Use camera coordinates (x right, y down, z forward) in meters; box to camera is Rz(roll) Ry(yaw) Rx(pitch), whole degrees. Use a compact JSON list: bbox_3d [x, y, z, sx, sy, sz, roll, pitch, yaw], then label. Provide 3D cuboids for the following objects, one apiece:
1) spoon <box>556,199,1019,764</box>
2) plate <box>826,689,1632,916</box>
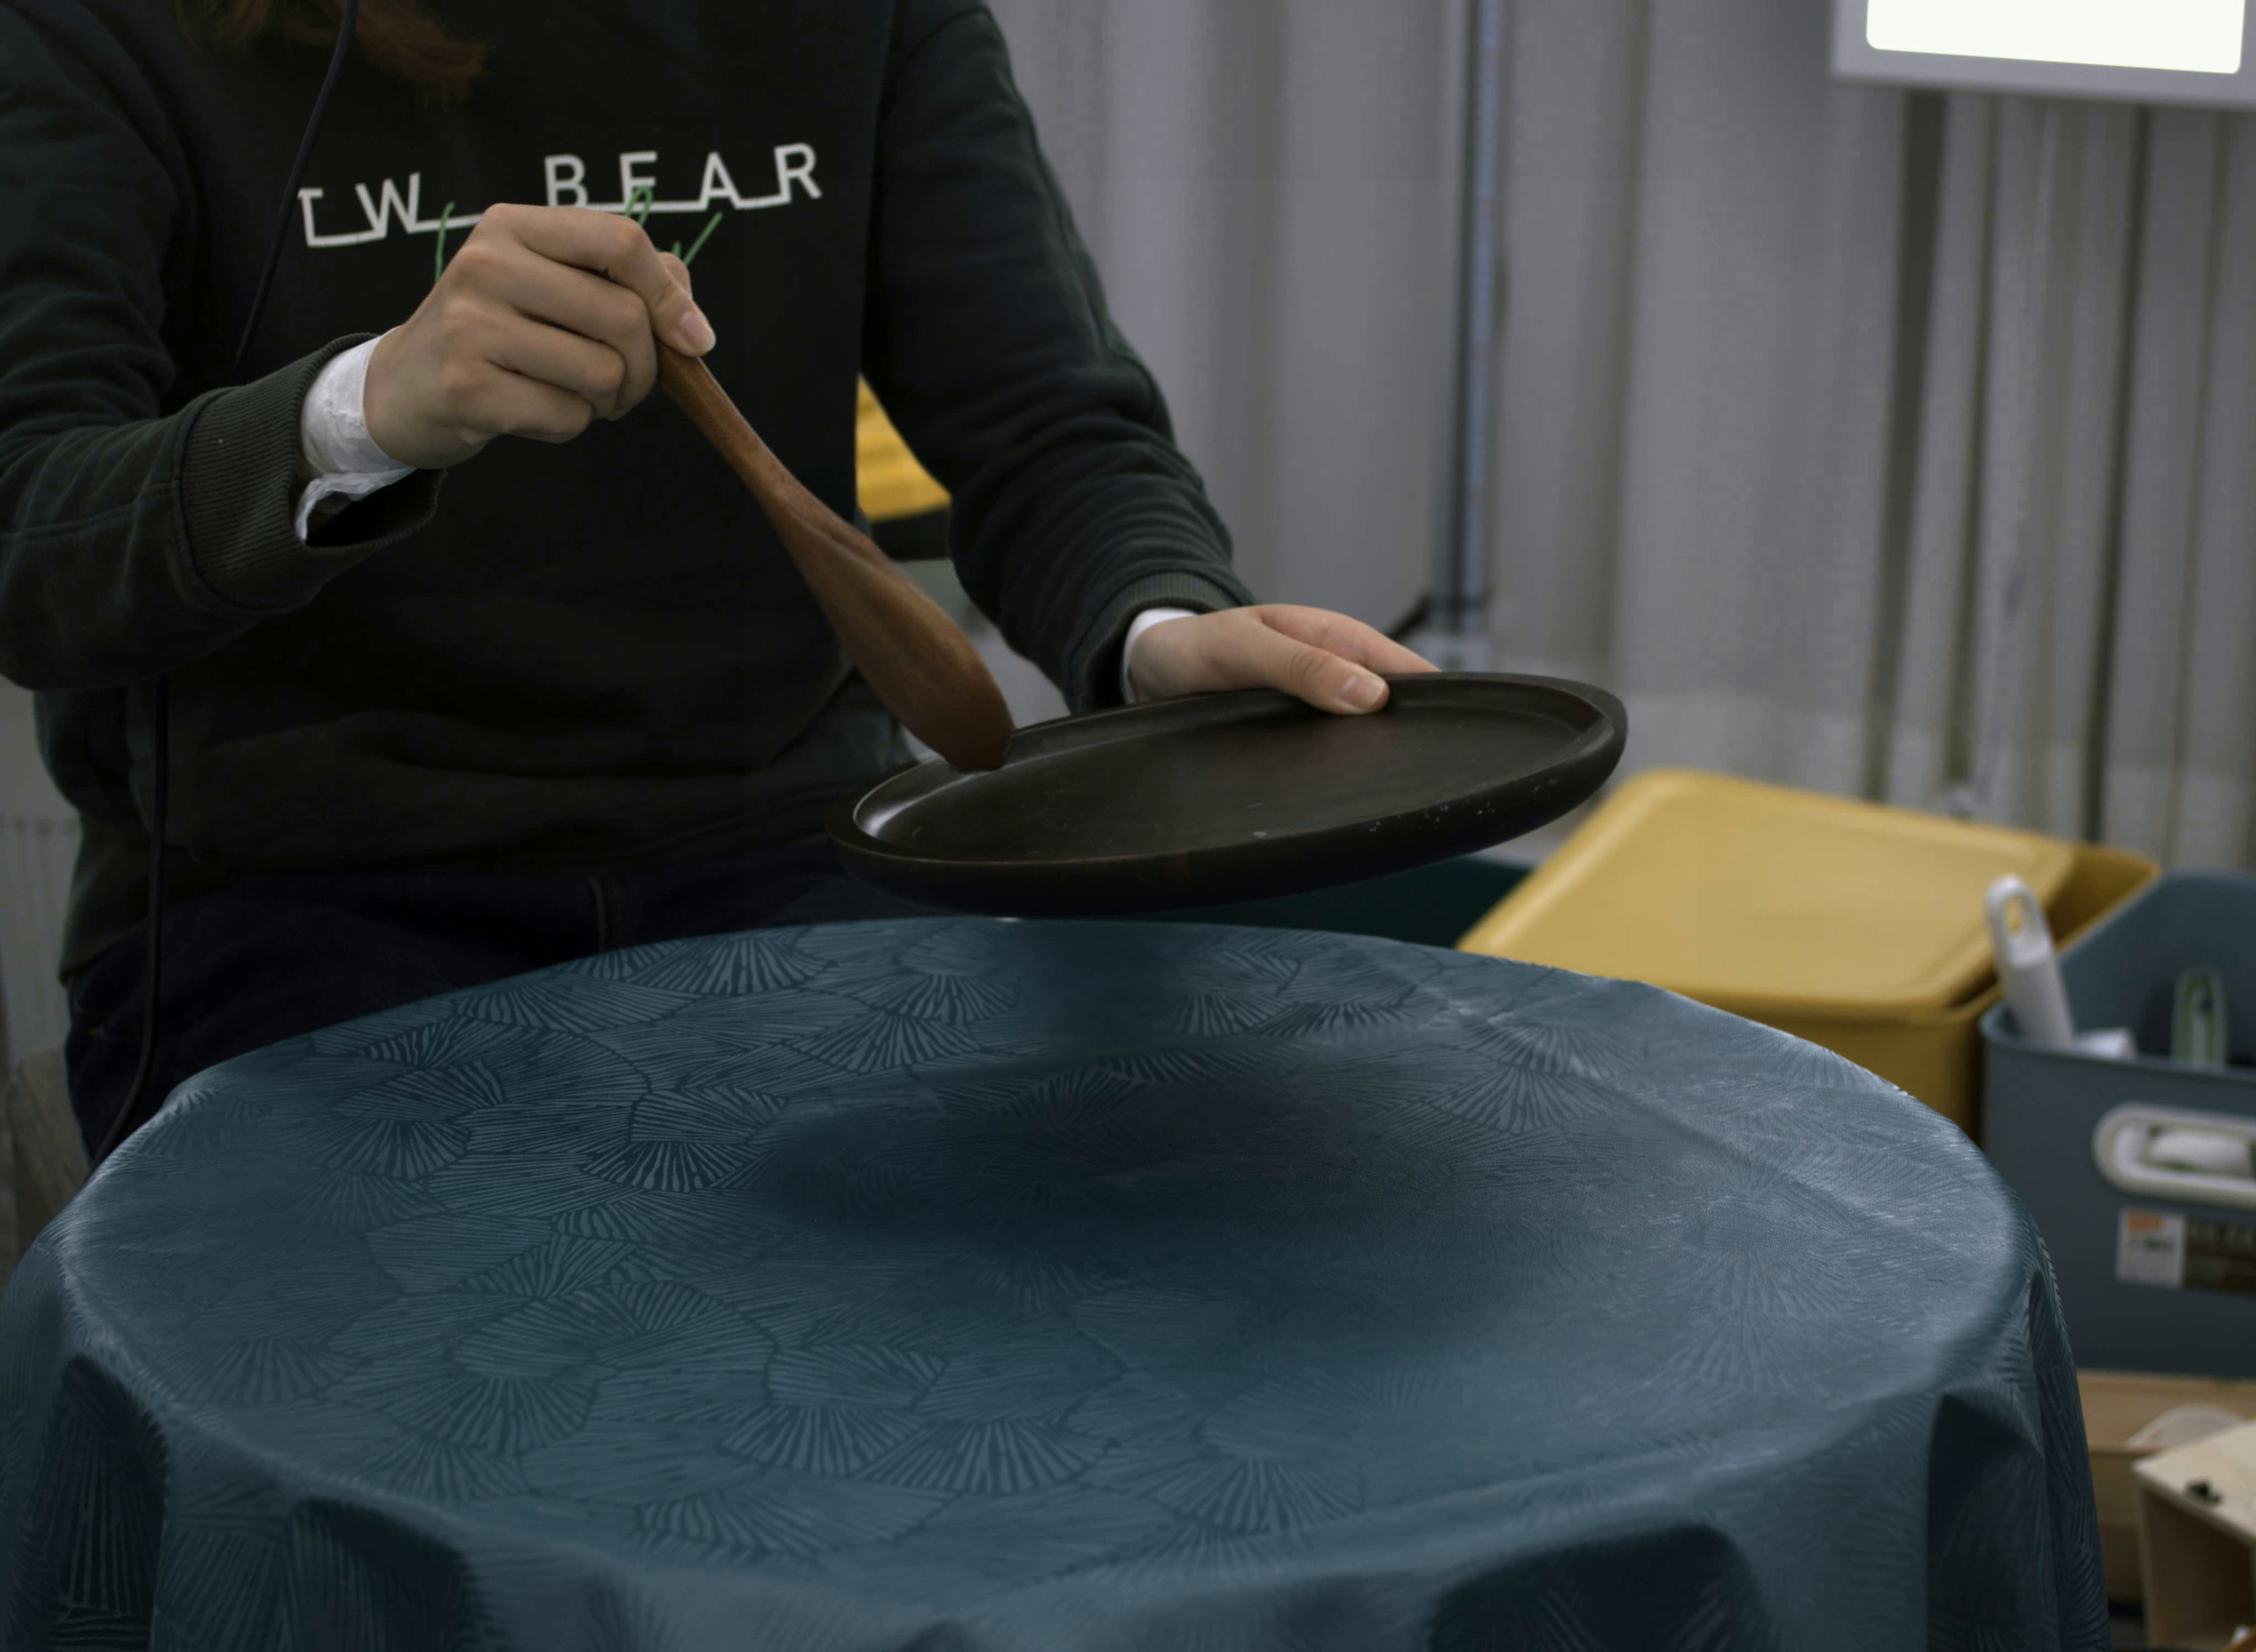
[{"bbox_3d":[-0.105,-0.103,1.610,0.017,0.216,0.075,-38,0,-18],"label":"spoon"},{"bbox_3d":[0.032,-0.010,1.643,0.254,0.029,0.253,-6,12,2],"label":"plate"}]
